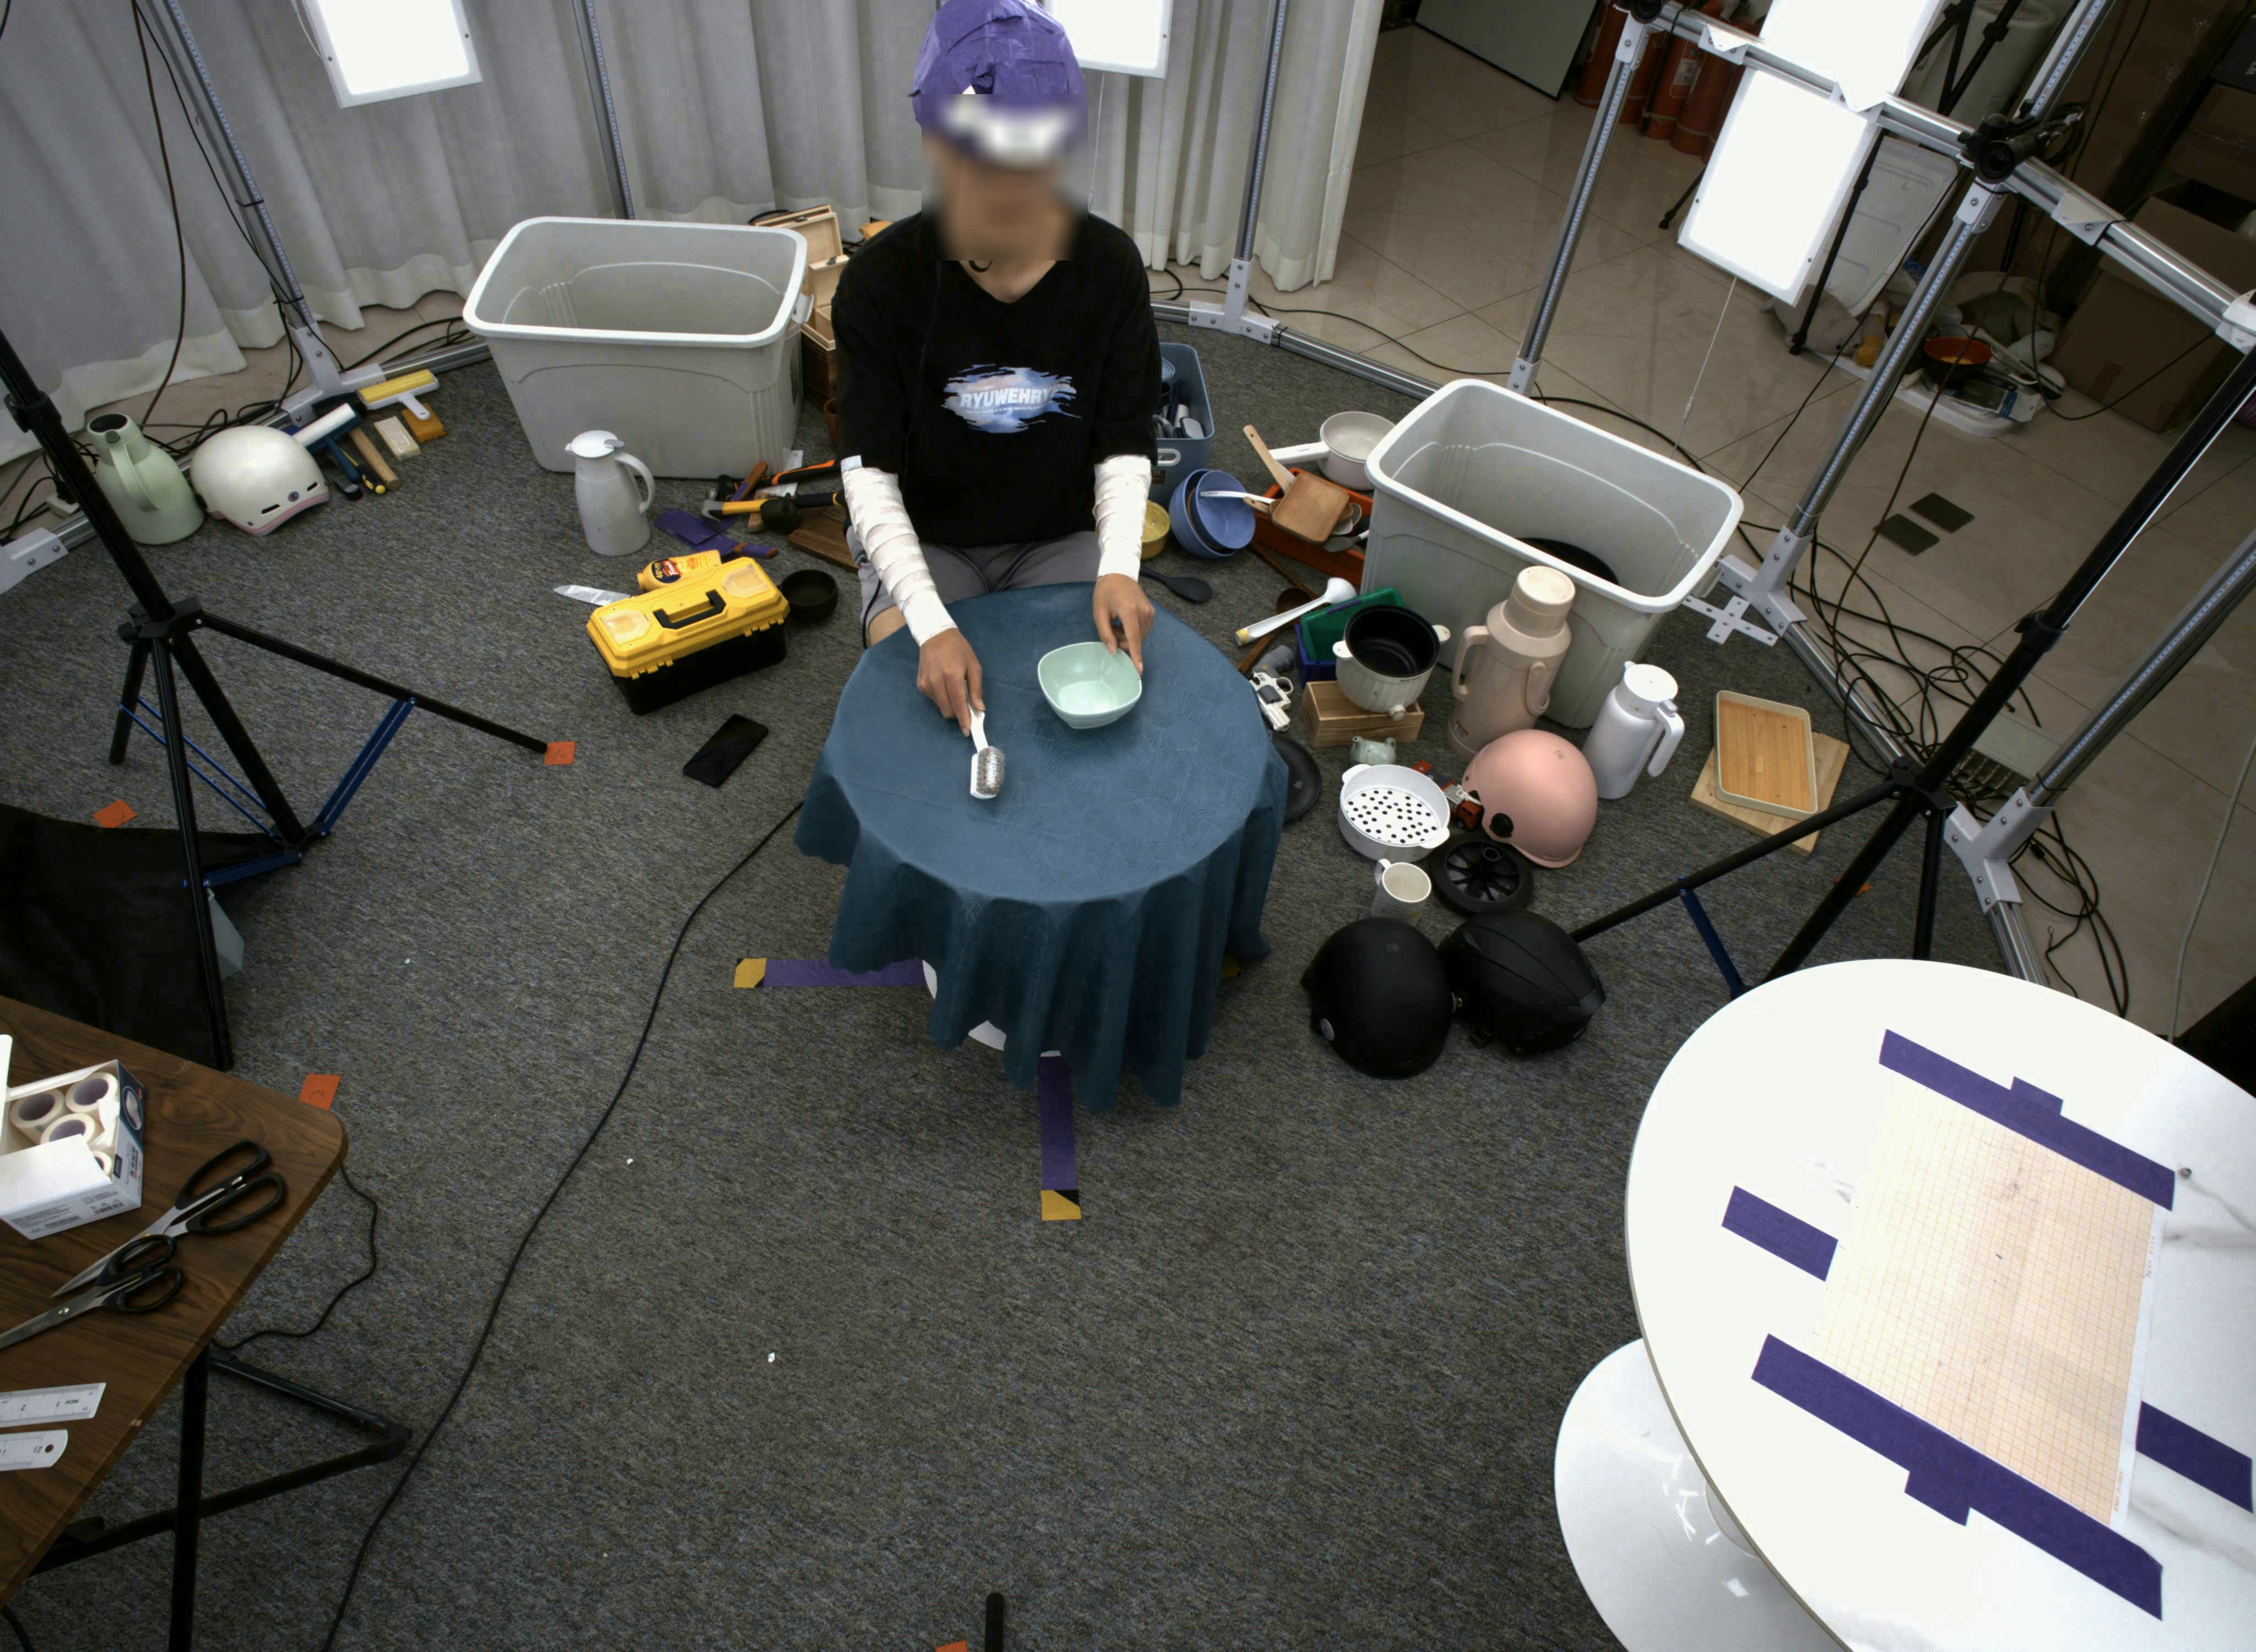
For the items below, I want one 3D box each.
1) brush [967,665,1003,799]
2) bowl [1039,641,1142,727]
[{"bbox_3d":[-0.195,-0.138,1.738,0.034,0.049,0.250,15,47,-27],"label":"brush"},{"bbox_3d":[-0.054,-0.191,1.796,0.151,0.057,0.155,3,50,-4],"label":"bowl"}]
